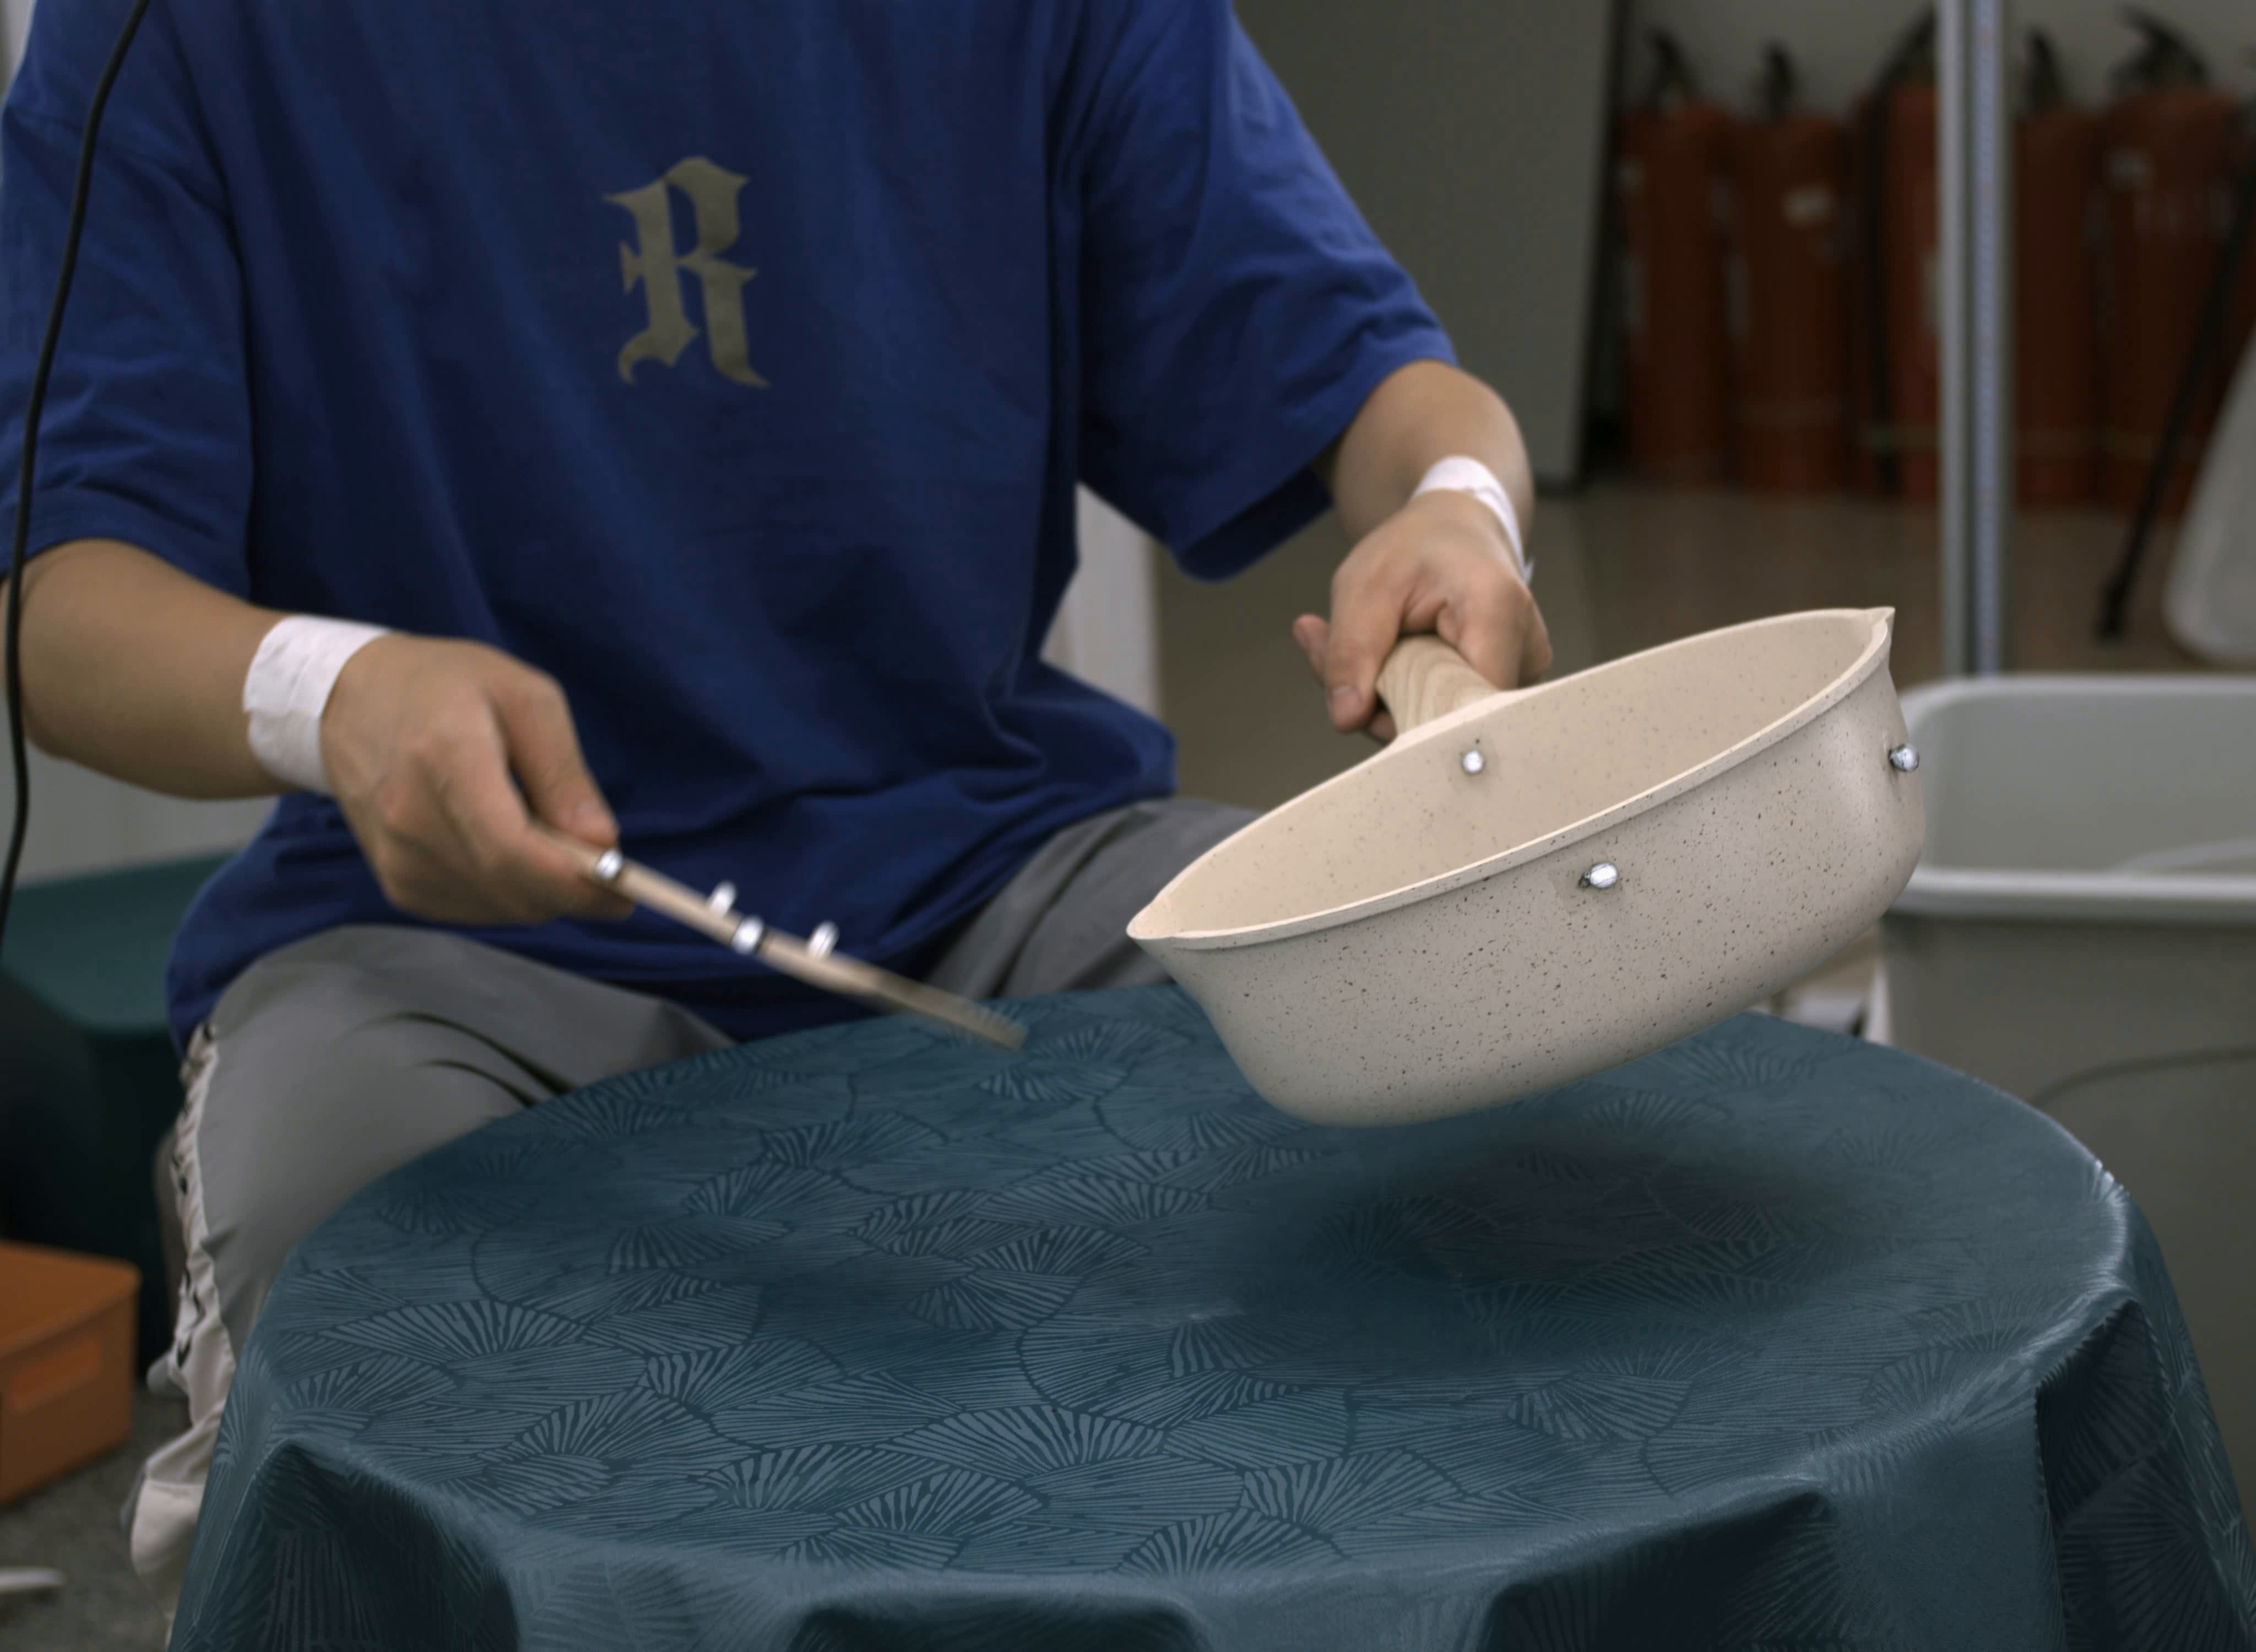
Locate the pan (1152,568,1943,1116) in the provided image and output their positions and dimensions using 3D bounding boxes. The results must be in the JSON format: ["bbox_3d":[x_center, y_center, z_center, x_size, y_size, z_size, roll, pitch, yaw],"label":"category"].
[{"bbox_3d":[0.128,-0.006,1.779,0.261,0.102,0.436,-25,8,-2],"label":"pan"}]

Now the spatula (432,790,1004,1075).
[{"bbox_3d":[-0.148,0.030,1.769,0.071,0.011,0.296,25,-1,-40],"label":"spatula"}]
